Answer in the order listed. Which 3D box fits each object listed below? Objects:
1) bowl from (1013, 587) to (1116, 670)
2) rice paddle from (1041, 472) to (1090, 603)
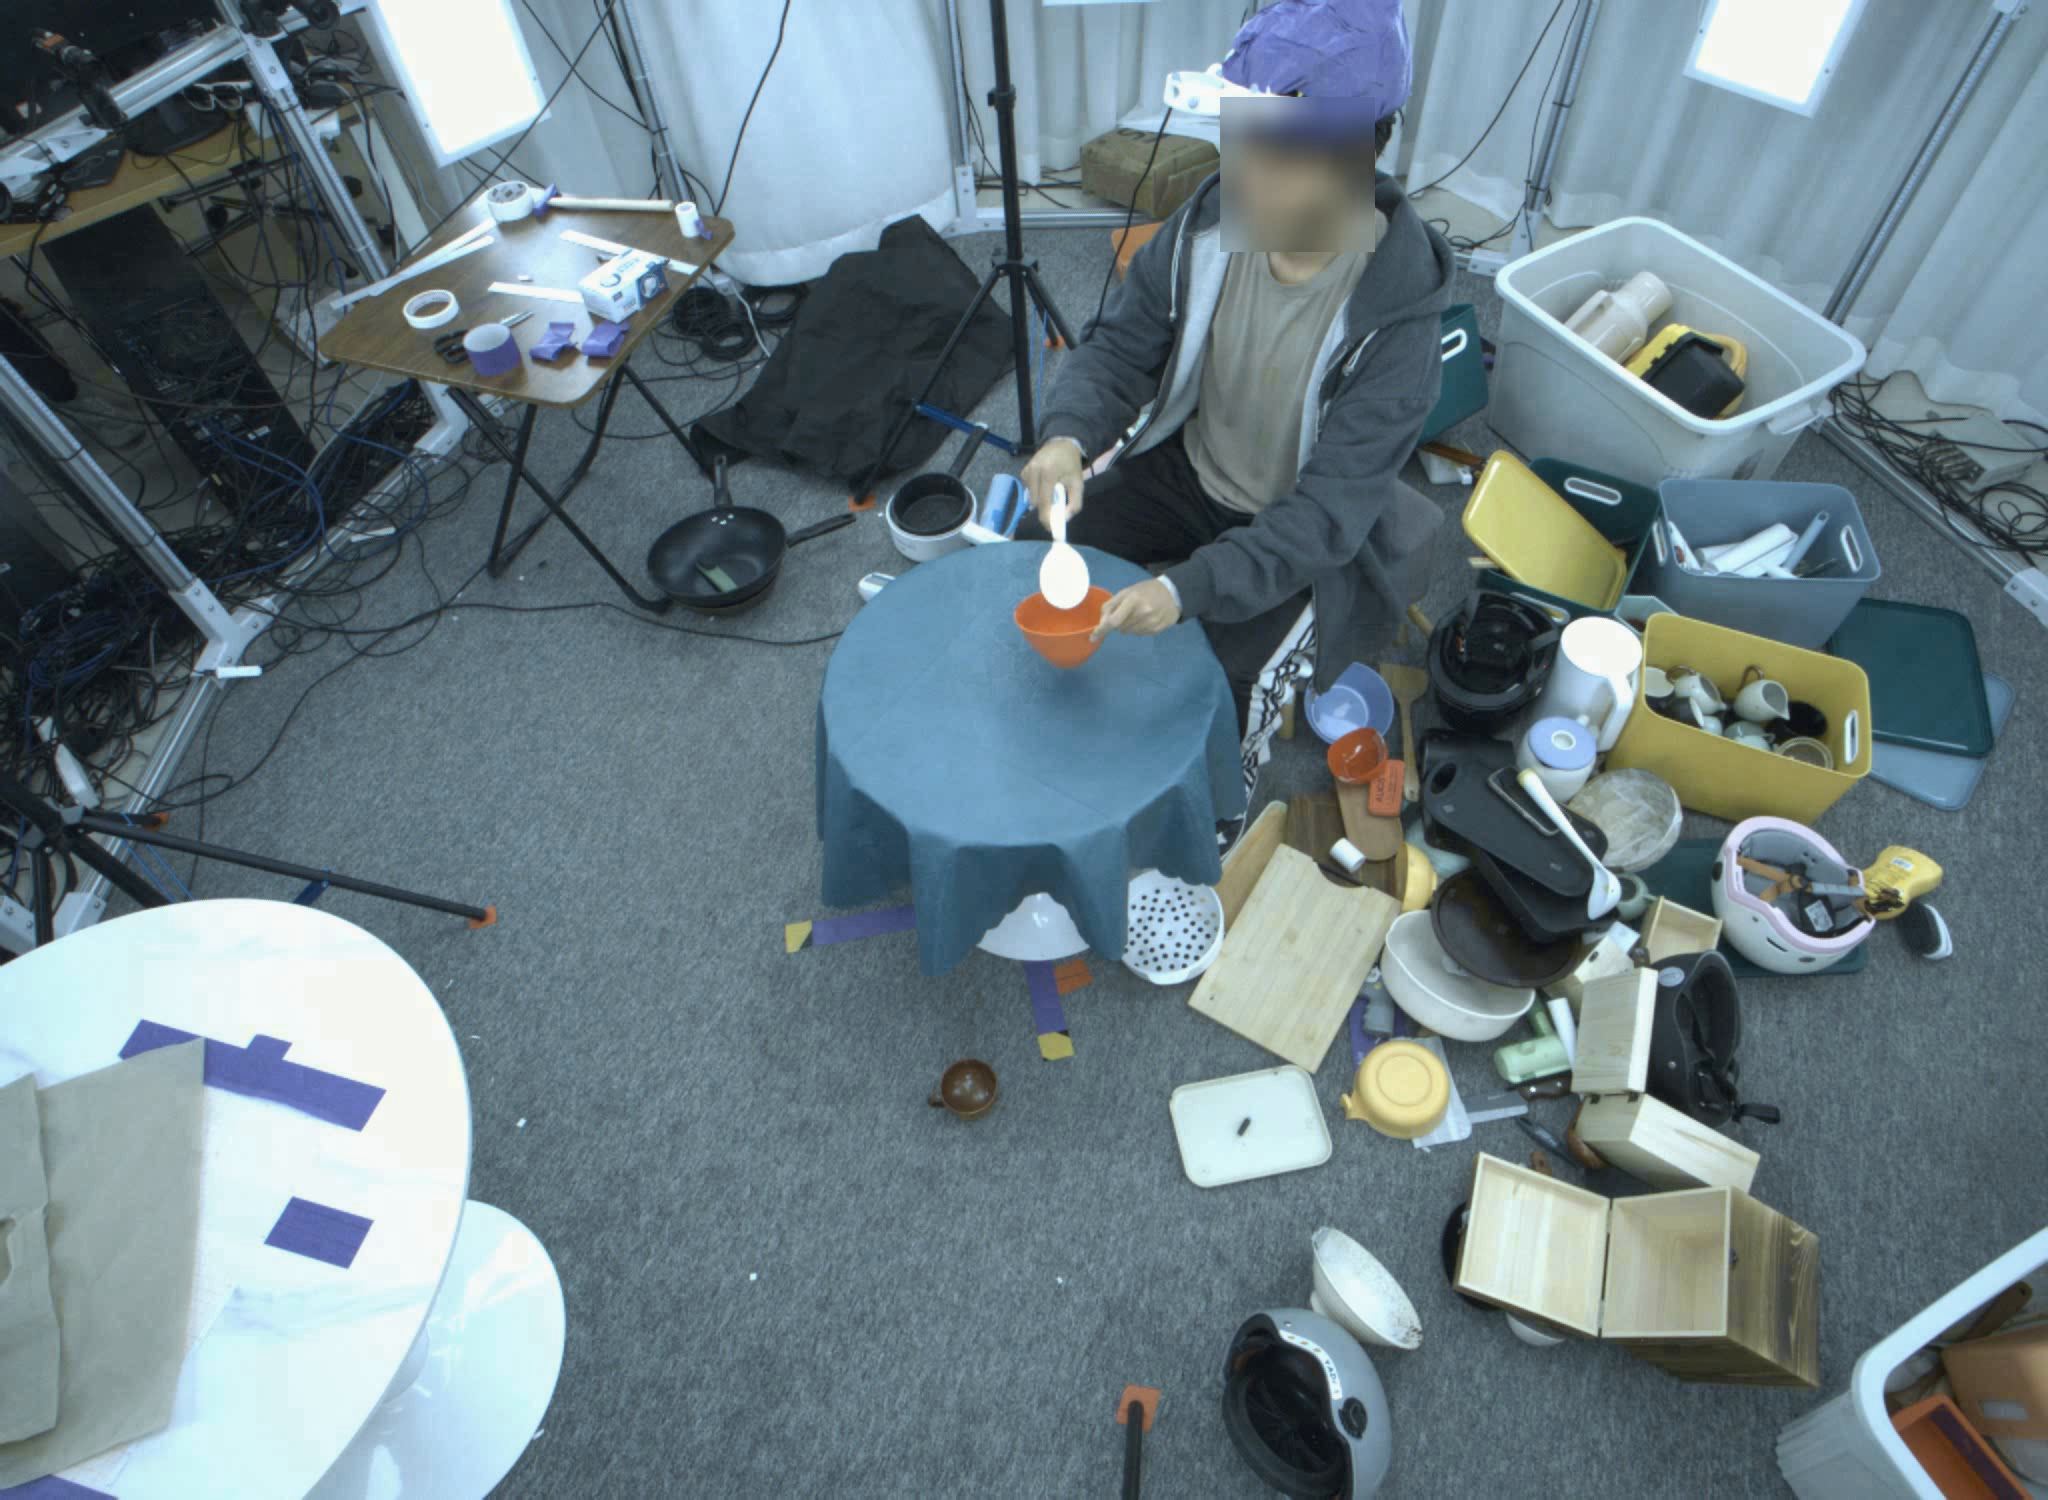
[{"bbox_3d":[0.061,-0.168,1.776,0.147,0.106,0.146,-3,44,4],"label":"bowl"},{"bbox_3d":[0.051,-0.303,1.750,0.068,0.030,0.203,-9,72,5],"label":"rice paddle"}]
